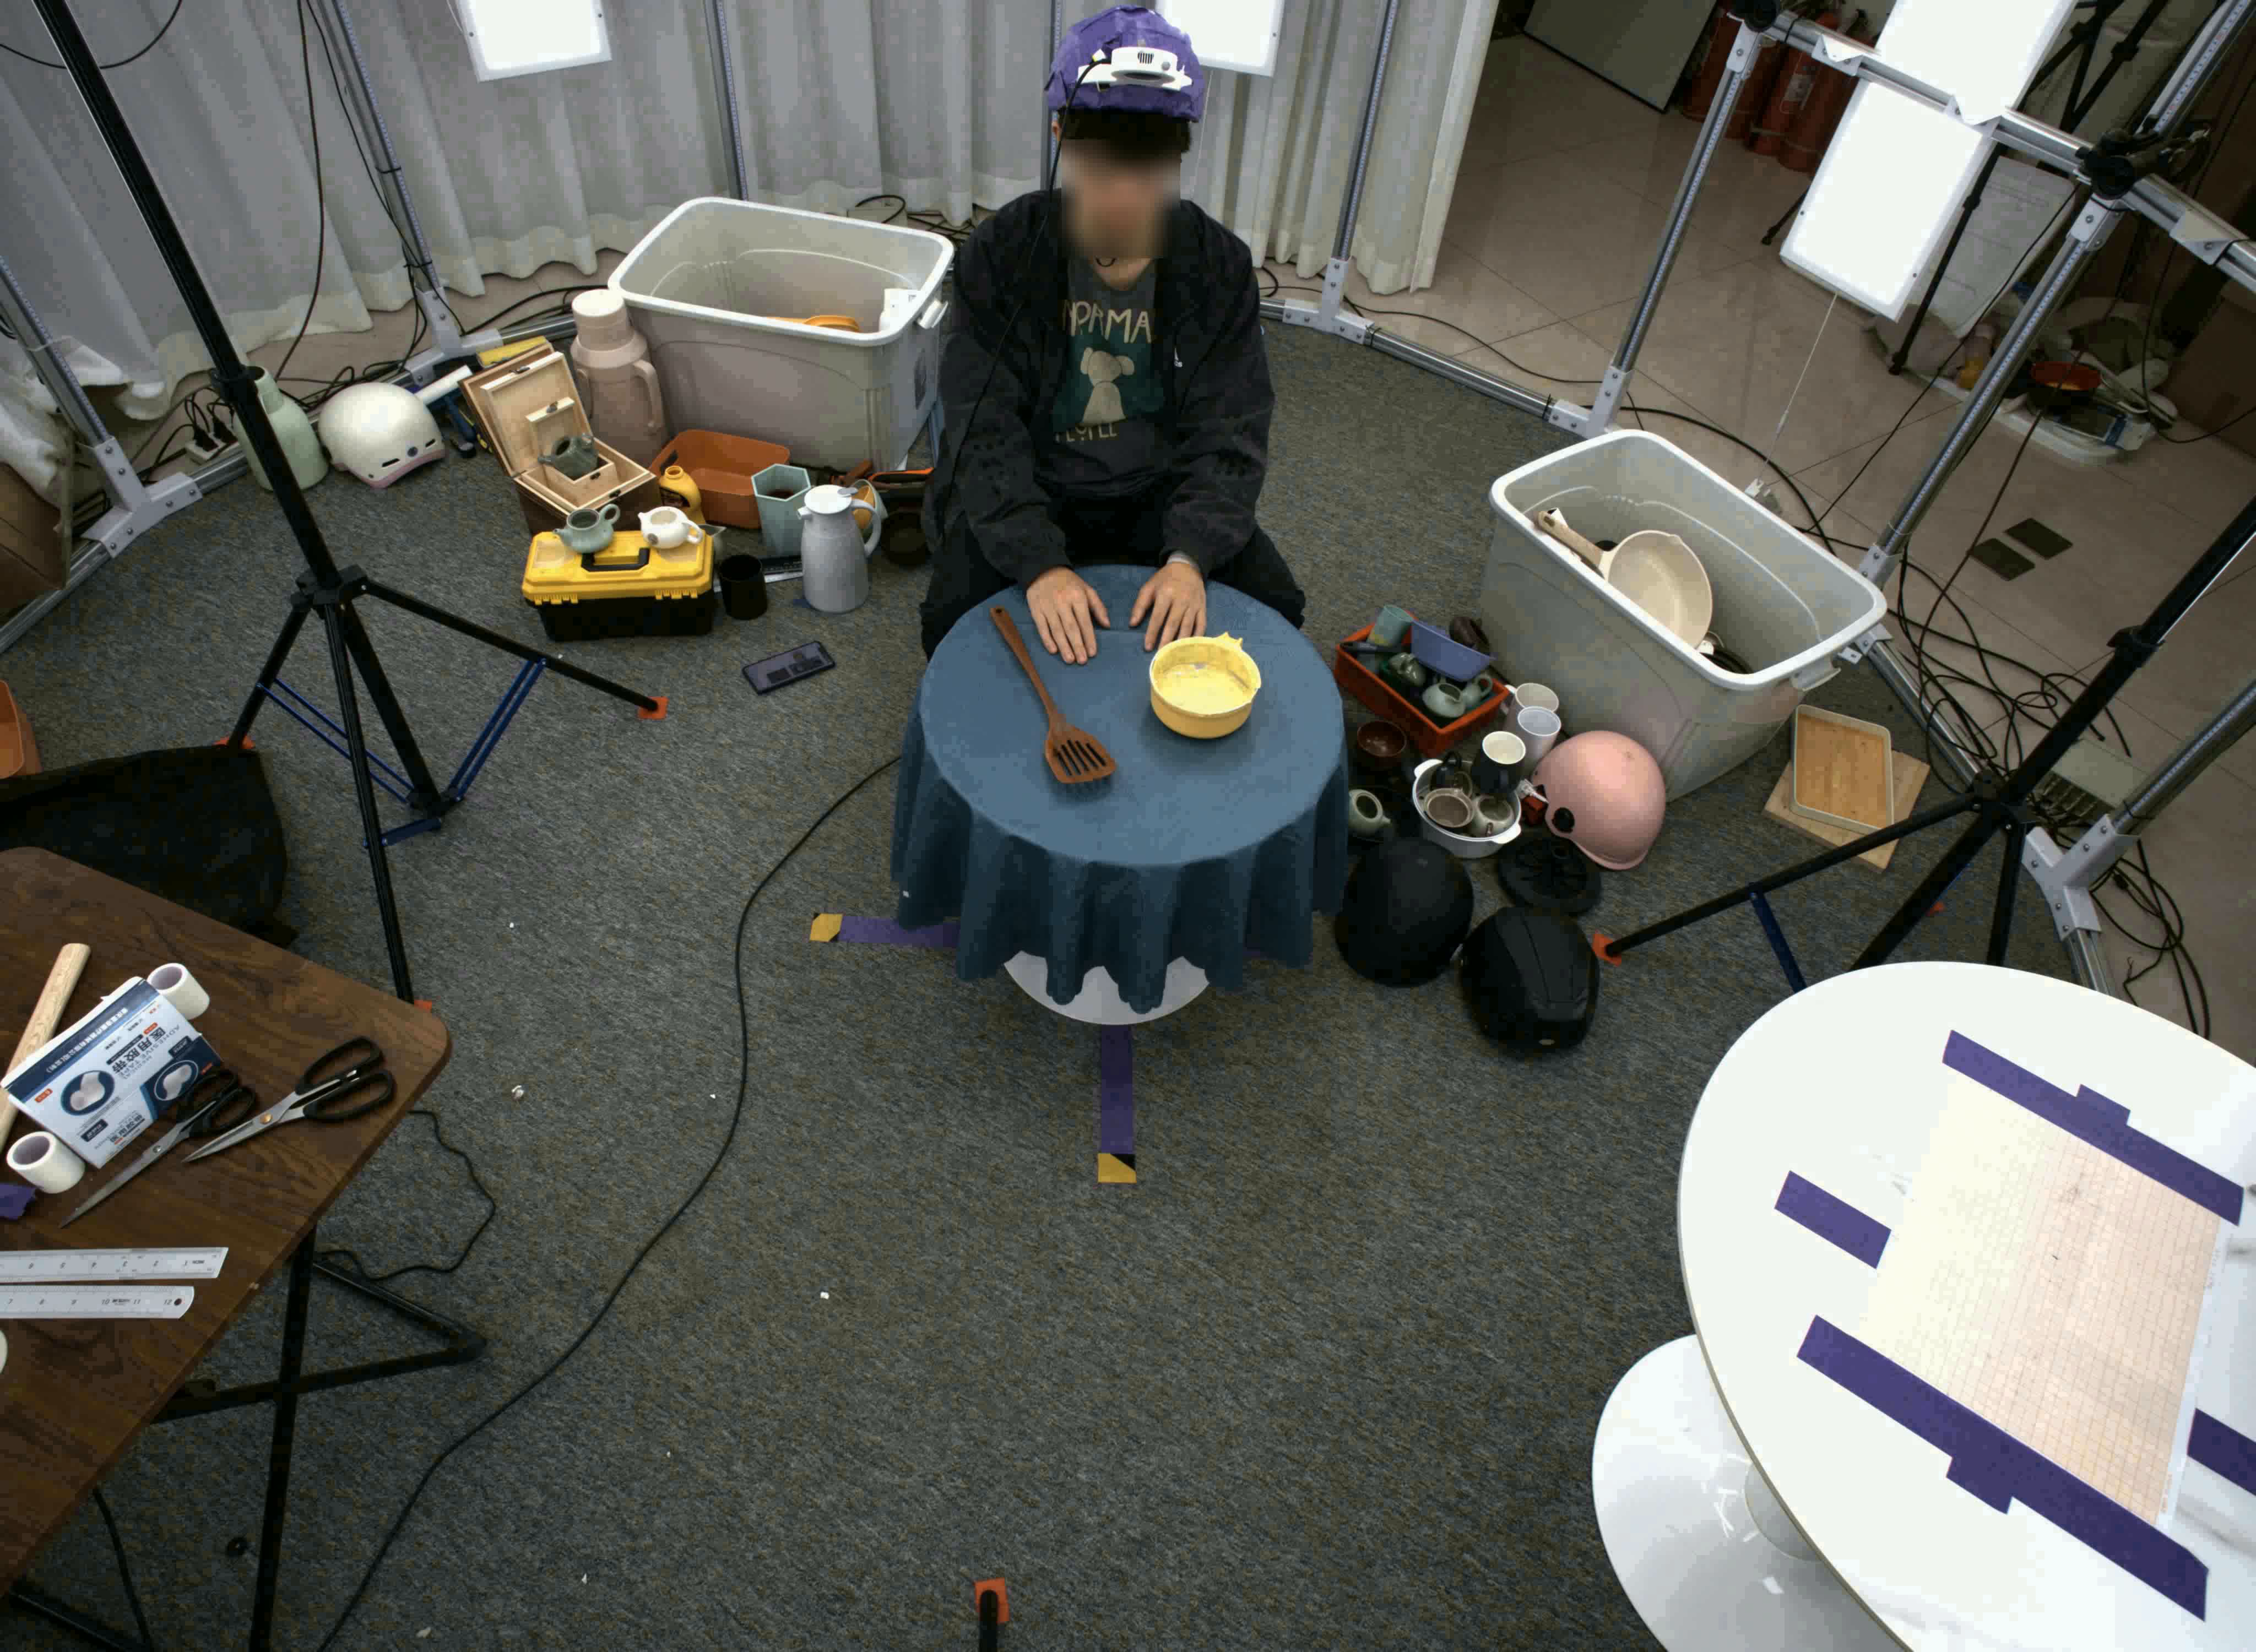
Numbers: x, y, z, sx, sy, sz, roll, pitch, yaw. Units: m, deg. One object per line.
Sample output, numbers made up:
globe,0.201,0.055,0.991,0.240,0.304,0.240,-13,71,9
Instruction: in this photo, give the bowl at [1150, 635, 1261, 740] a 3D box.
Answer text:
bowl,0.111,-0.196,1.804,0.154,0.072,0.182,20,51,12

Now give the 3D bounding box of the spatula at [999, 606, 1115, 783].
spatula,-0.119,-0.191,1.813,0.085,0.023,0.396,-13,49,-16
